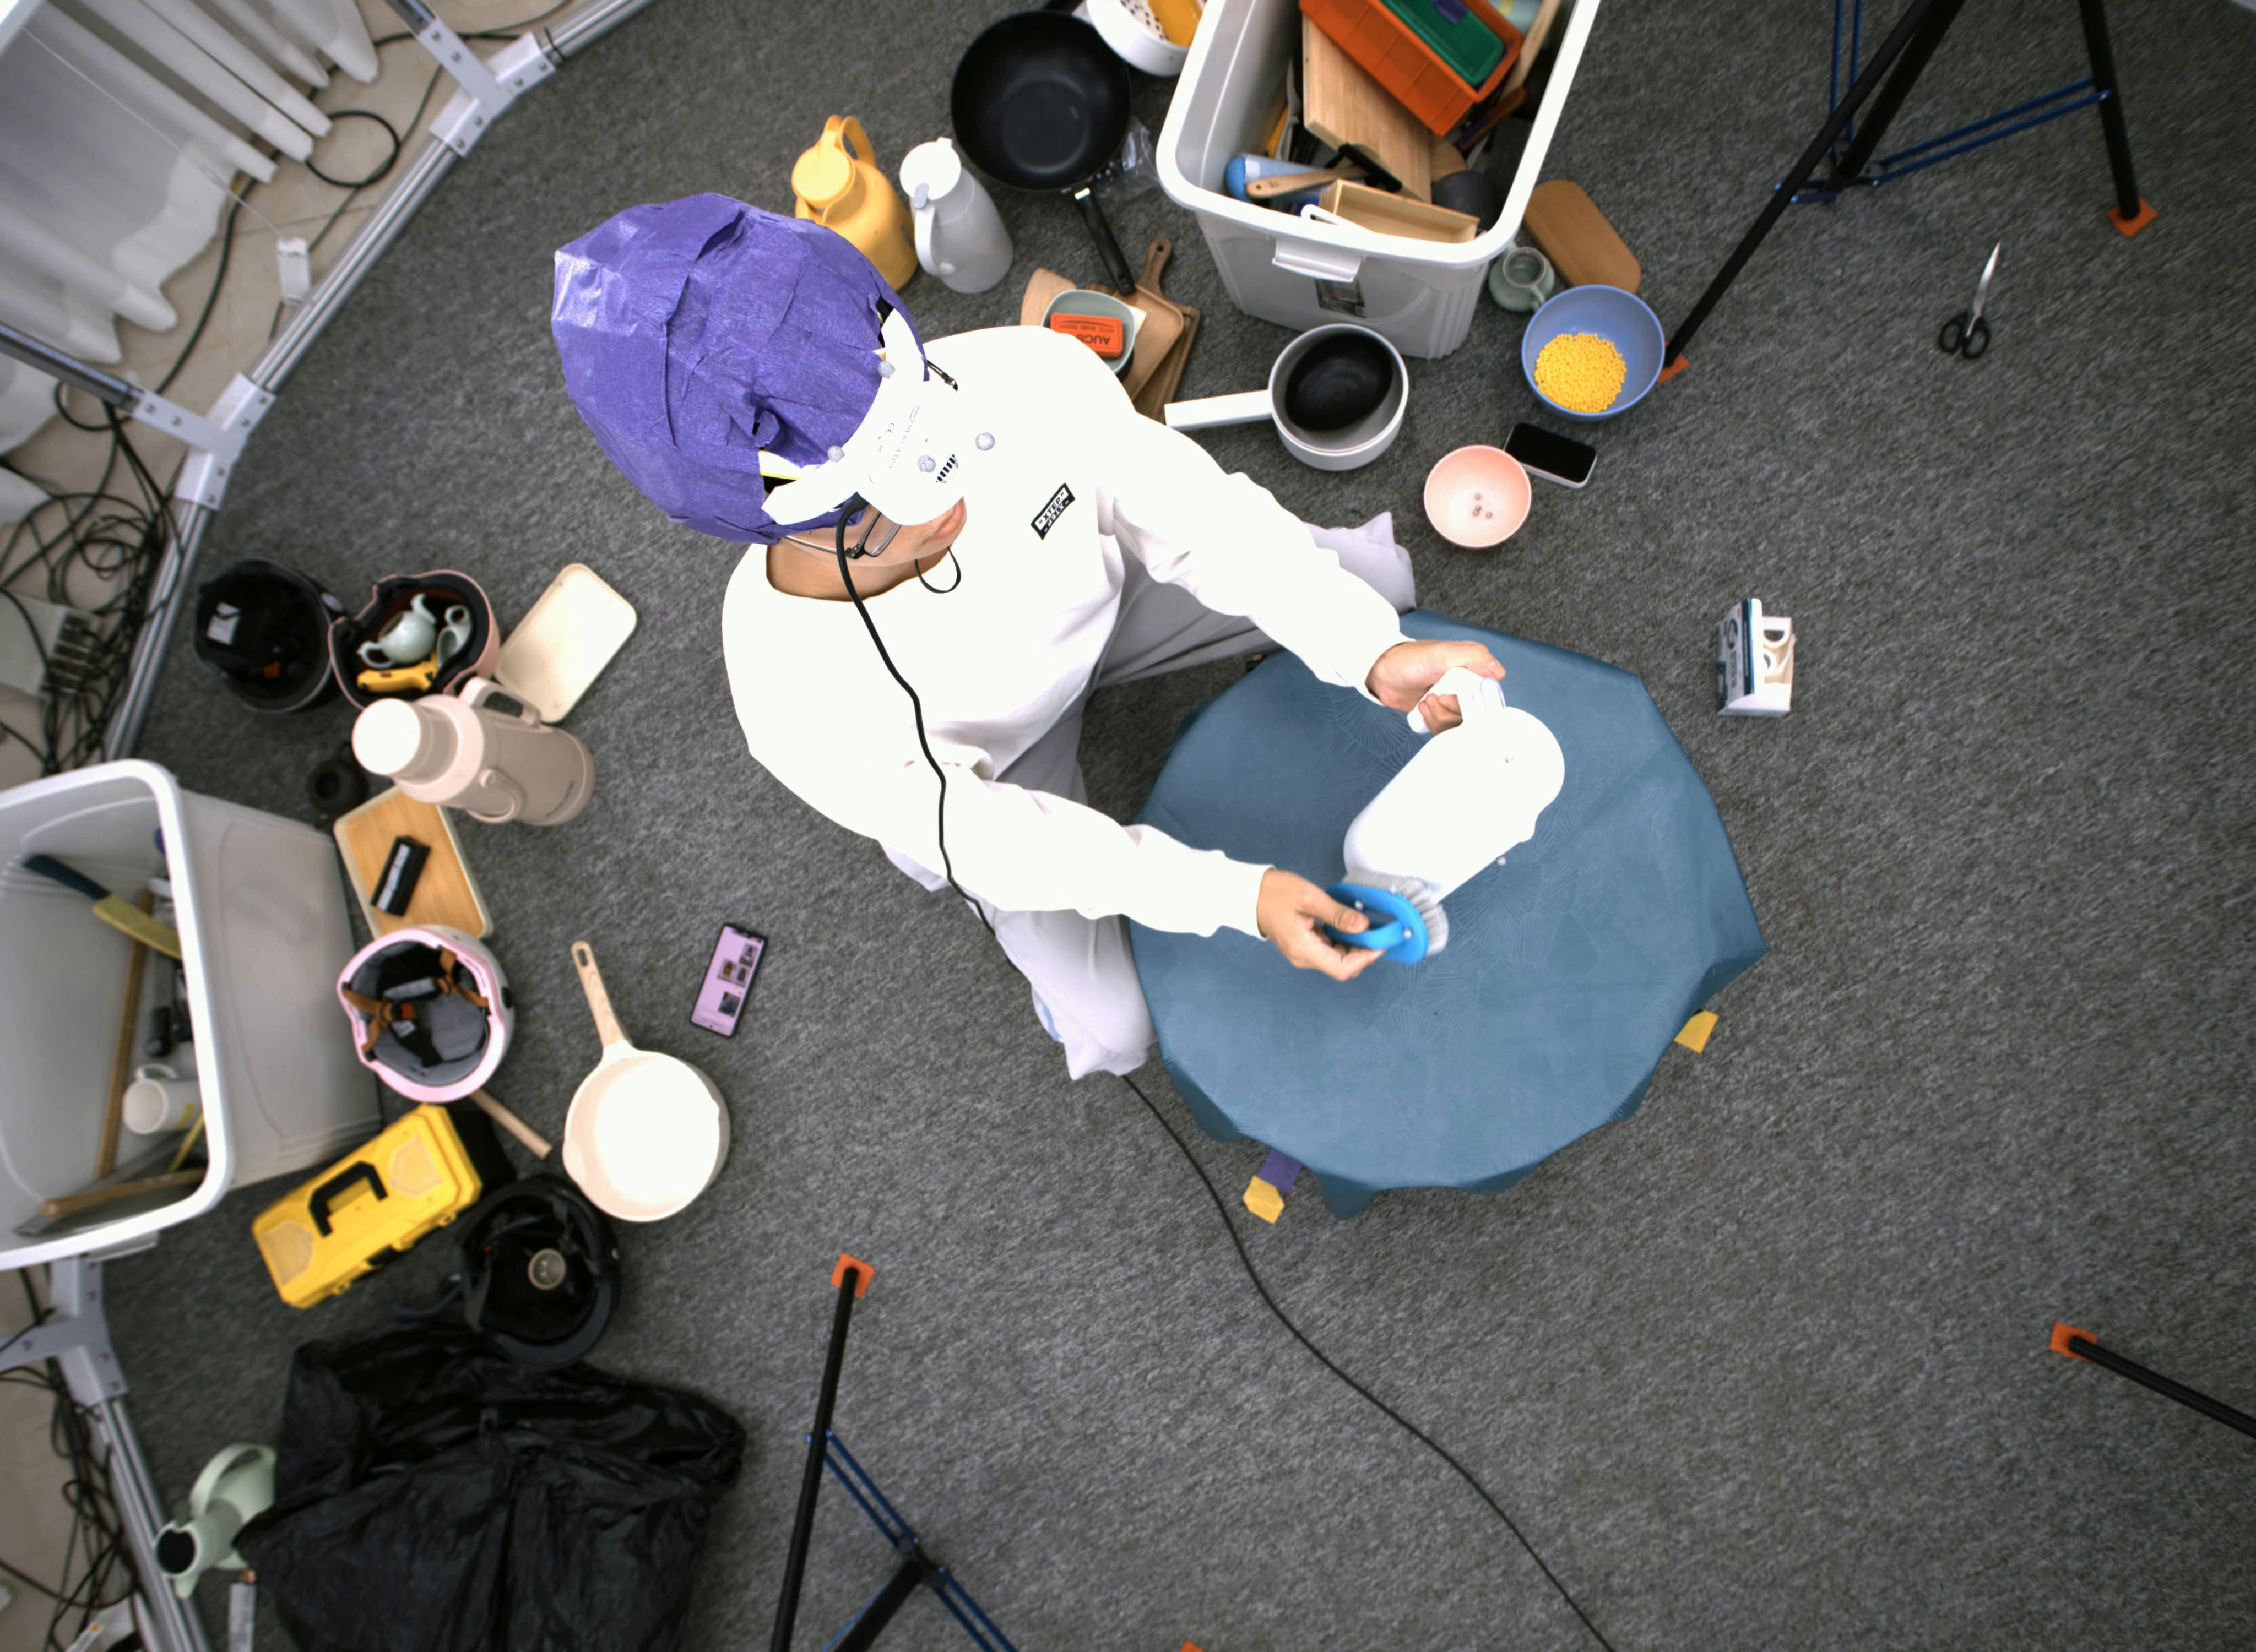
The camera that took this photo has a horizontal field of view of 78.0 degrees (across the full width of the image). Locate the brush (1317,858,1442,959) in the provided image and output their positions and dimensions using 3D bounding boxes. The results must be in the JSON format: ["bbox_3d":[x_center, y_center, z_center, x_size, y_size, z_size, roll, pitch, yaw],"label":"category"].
[{"bbox_3d":[0.223,0.083,1.284,0.063,0.142,0.085,-34,113,-22],"label":"brush"}]

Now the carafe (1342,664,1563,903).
[{"bbox_3d":[0.286,-0.029,1.258,0.123,0.273,0.170,-7,73,-11],"label":"carafe"}]
